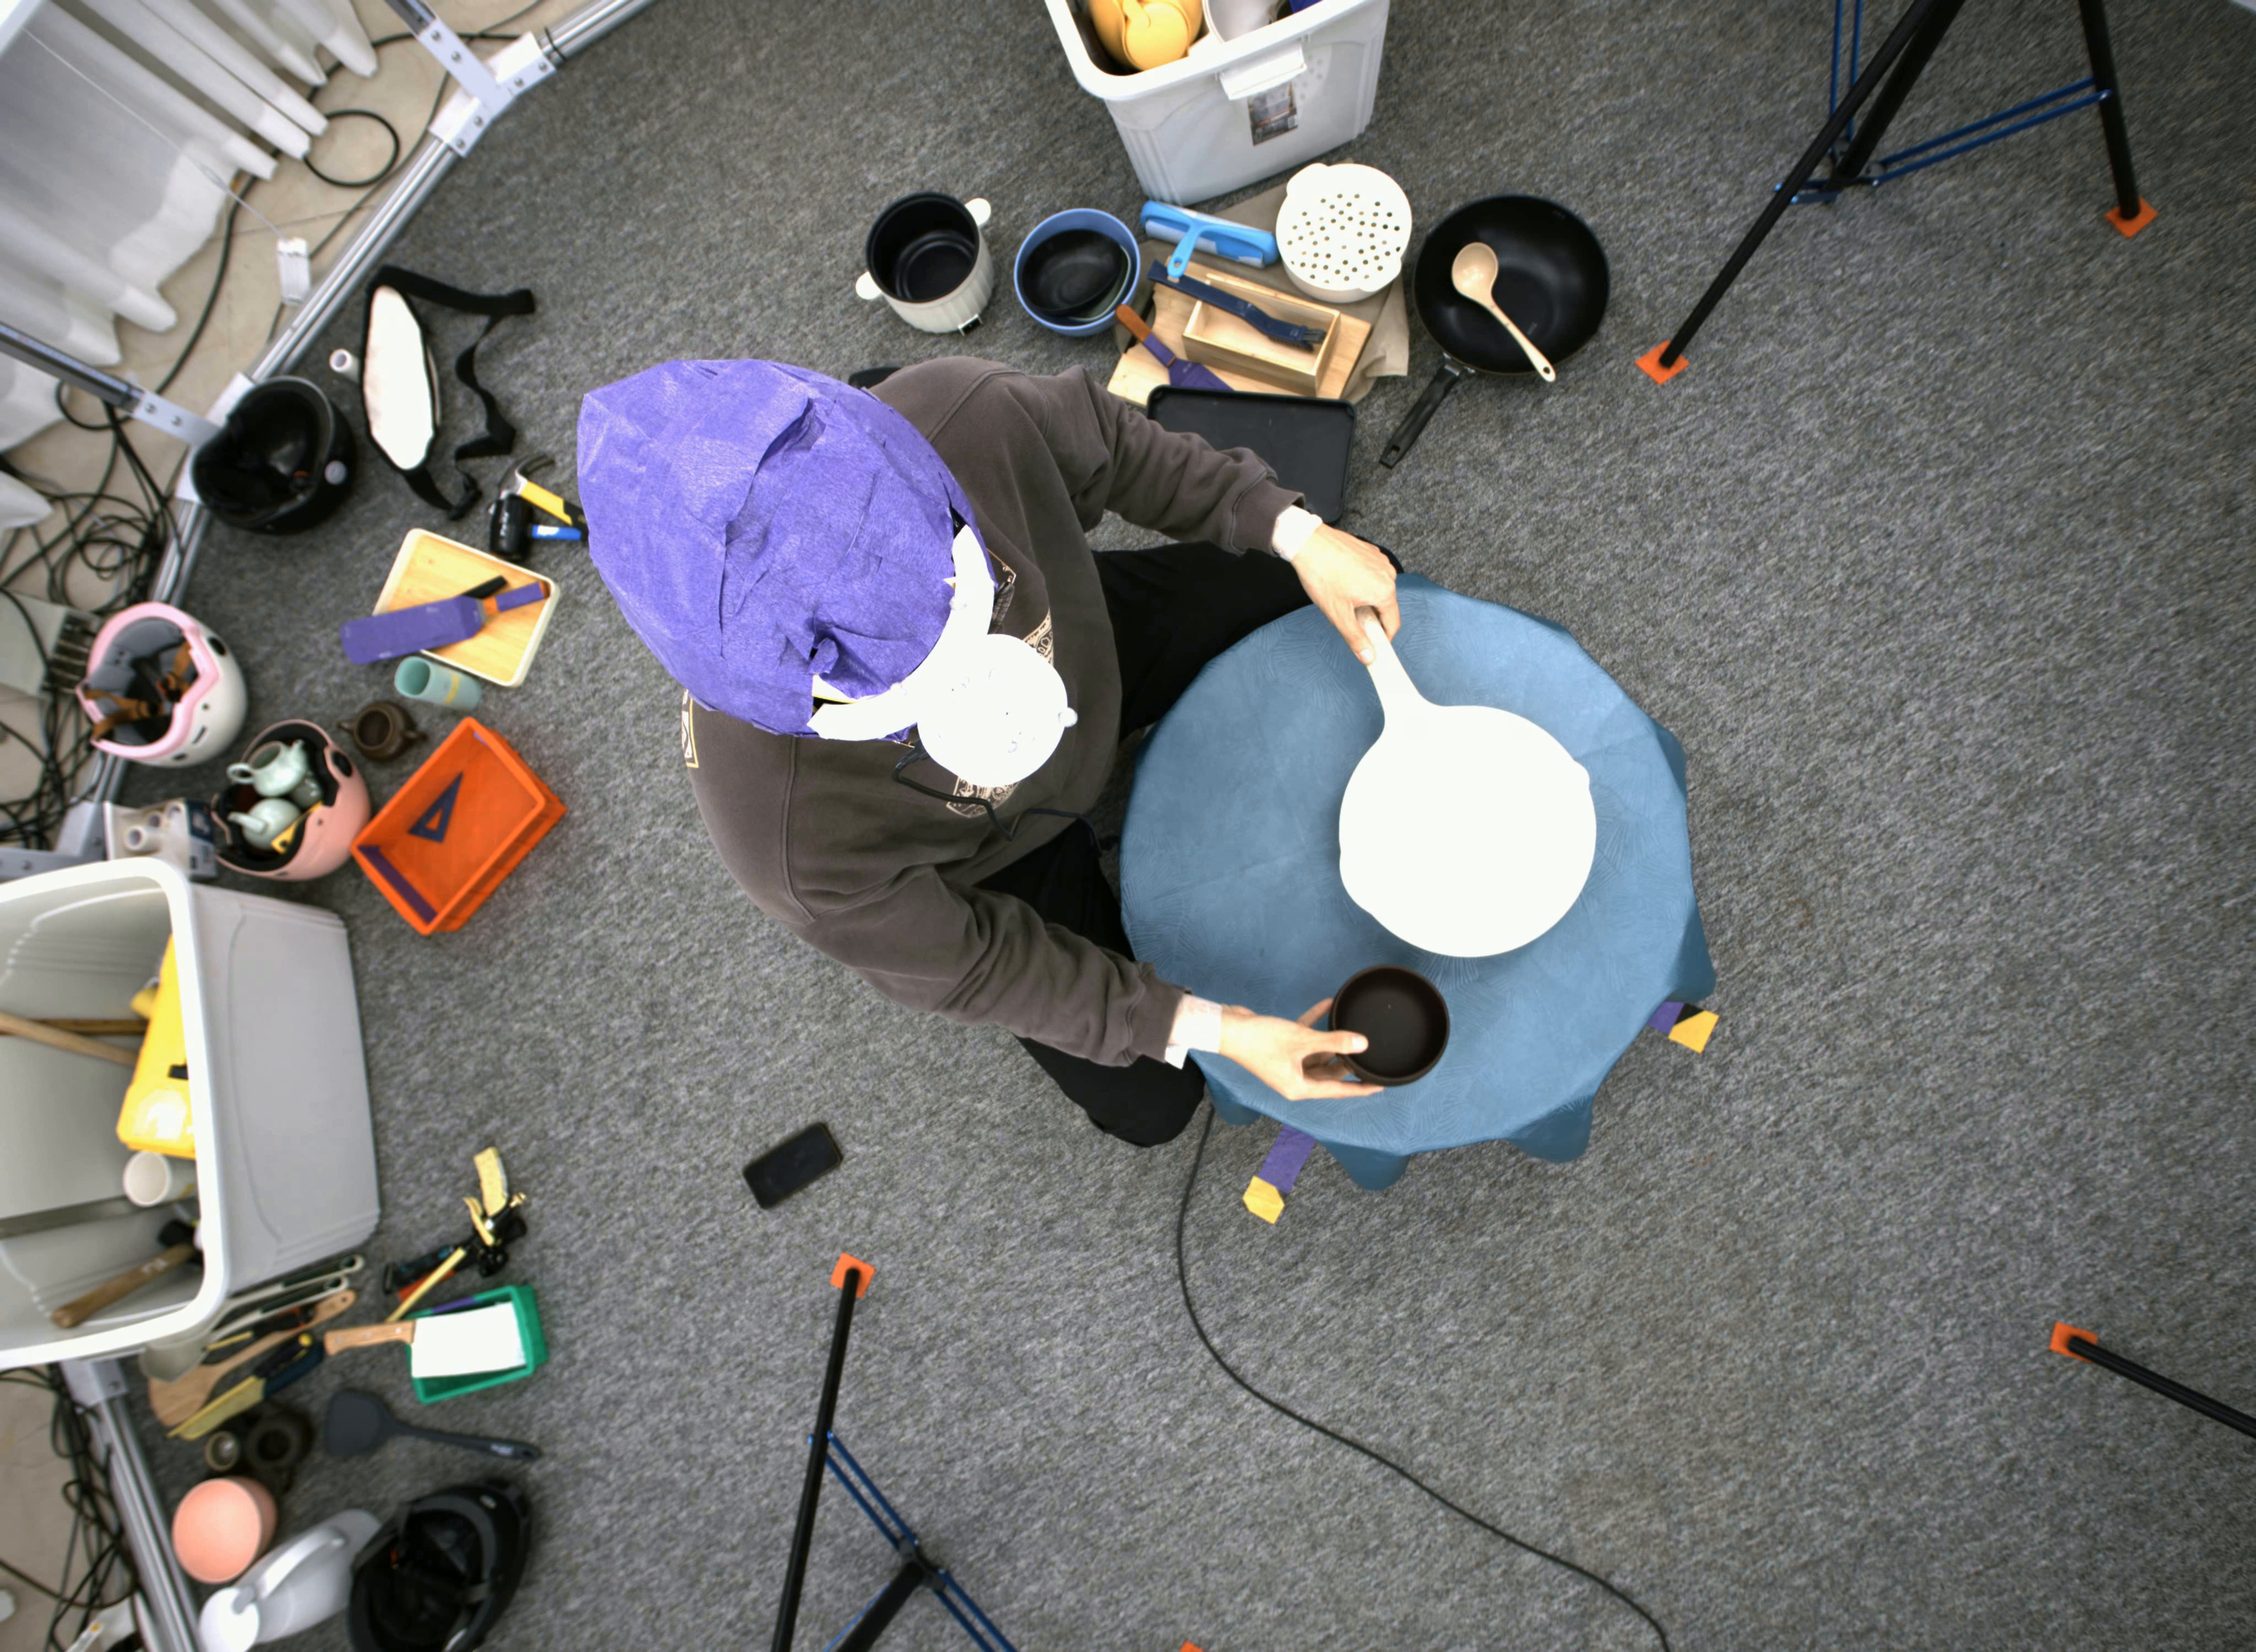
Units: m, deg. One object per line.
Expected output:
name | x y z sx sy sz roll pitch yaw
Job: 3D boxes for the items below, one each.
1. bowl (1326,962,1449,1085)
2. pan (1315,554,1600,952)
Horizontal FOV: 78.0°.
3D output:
bowl | 0.253 0.196 1.363 0.118 0.071 0.116 -2 73 4
pan | 0.305 -0.081 1.408 0.265 0.102 0.432 -27 82 10
